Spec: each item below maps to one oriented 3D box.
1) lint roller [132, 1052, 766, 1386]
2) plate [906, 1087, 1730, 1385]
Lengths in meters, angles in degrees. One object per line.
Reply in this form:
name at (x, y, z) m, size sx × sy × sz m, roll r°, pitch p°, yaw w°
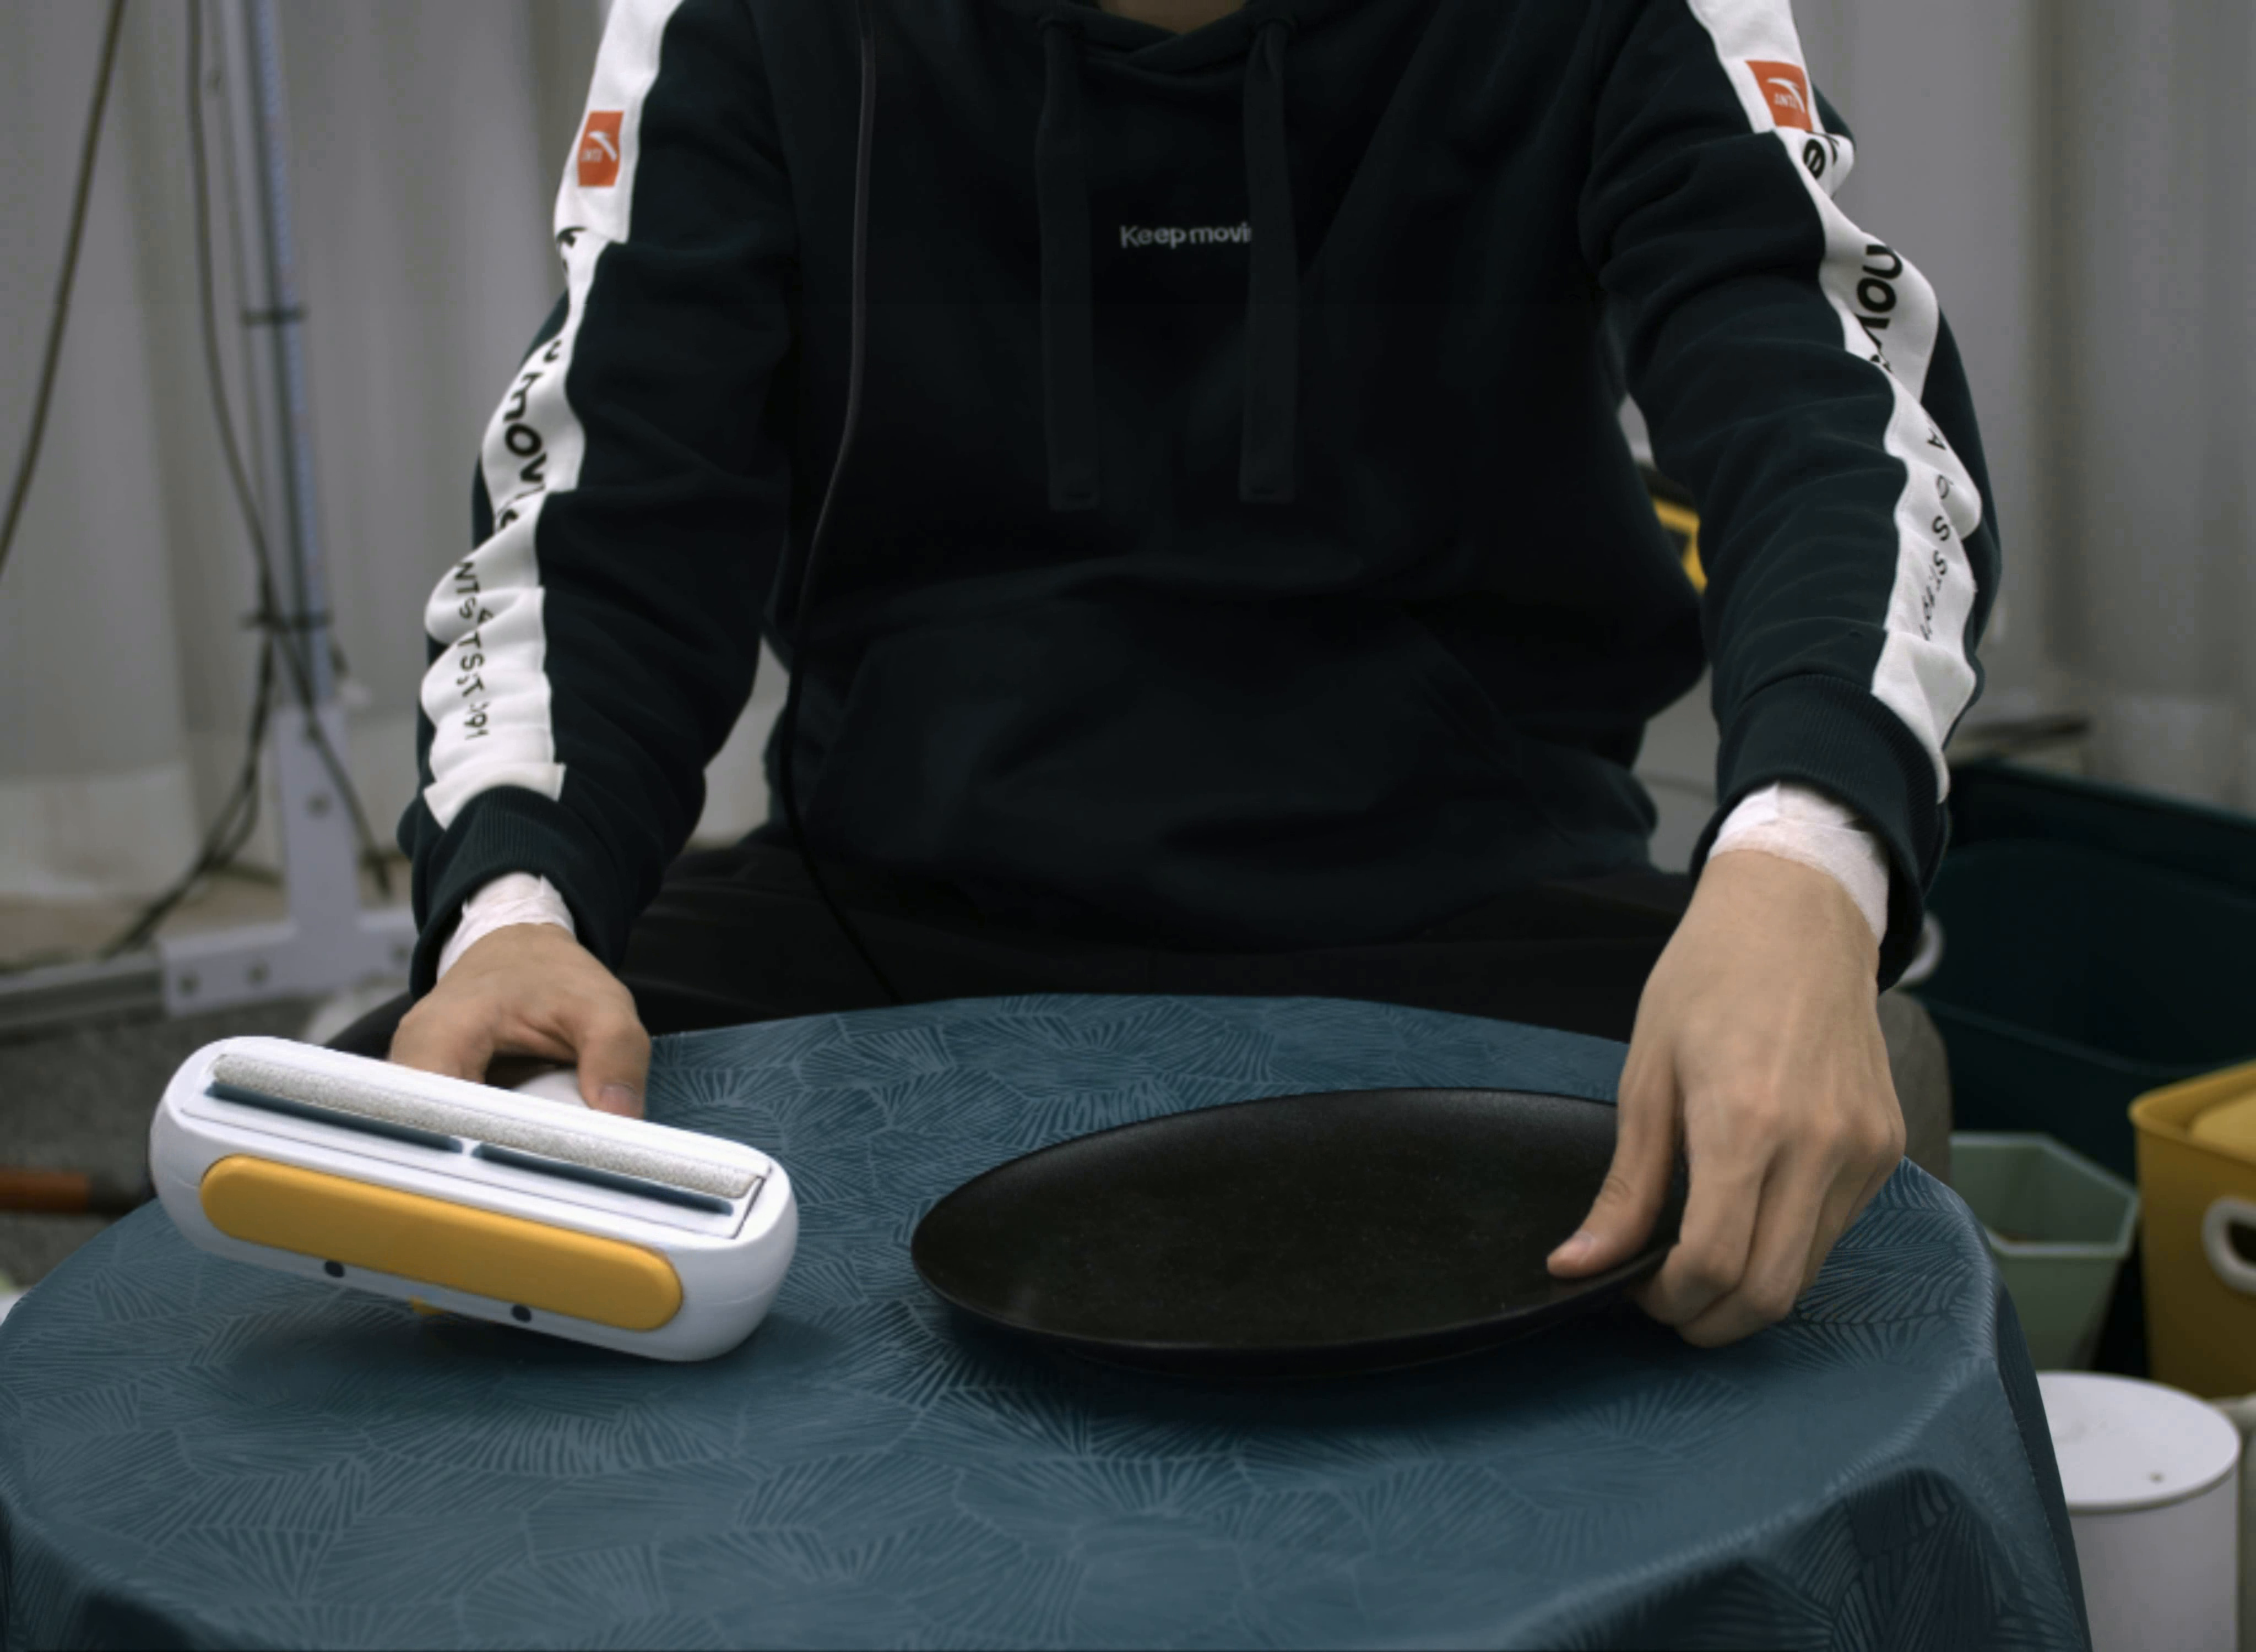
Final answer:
lint roller at (-0.186, 0.117, 1.666) m, size 0.193 × 0.074 × 0.192 m, roll 11°, pitch 7°, yaw 14°
plate at (0.056, 0.123, 1.611) m, size 0.243 × 0.023 × 0.246 m, roll -5°, pitch 14°, yaw 1°
